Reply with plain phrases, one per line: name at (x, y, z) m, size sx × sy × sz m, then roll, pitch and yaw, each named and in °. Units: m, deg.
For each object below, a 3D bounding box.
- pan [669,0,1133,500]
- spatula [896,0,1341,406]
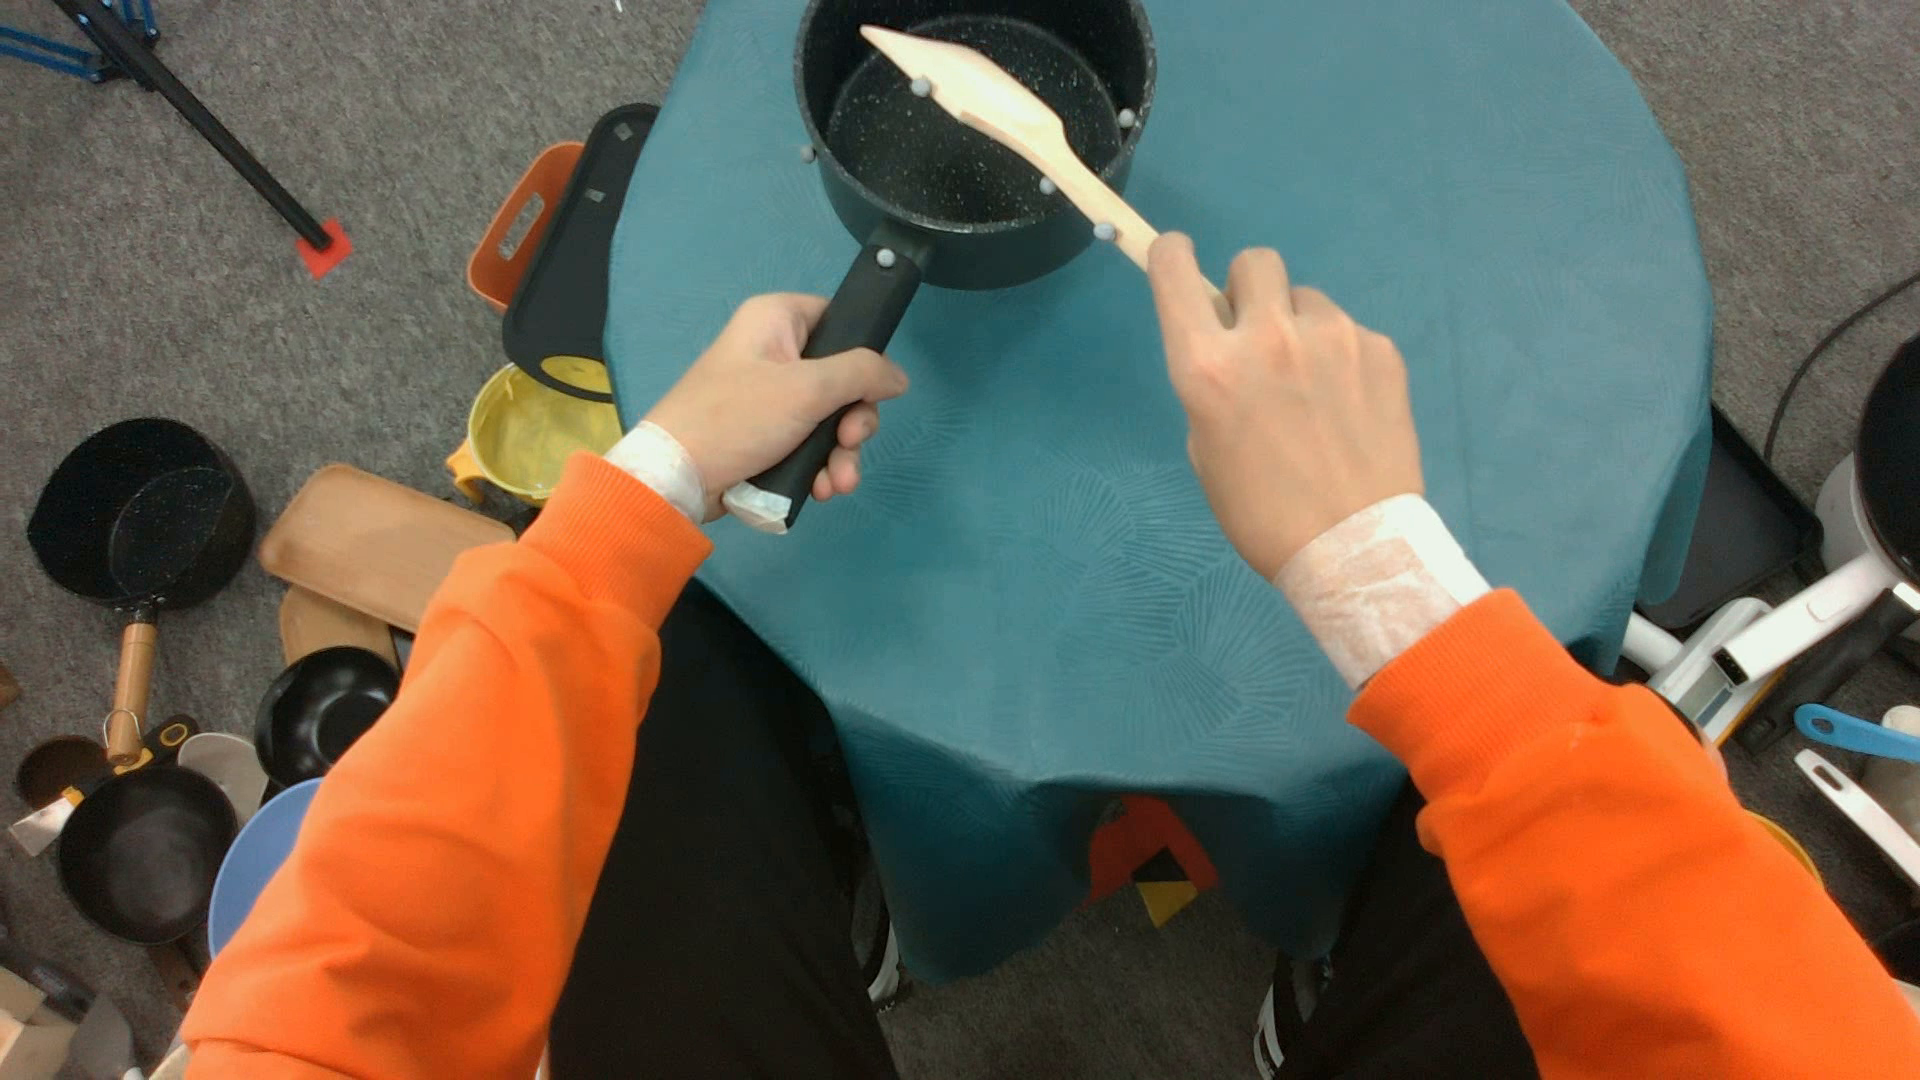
pan at (-0.038, -0.154, 0.662) m, size 0.172 × 0.086 × 0.329 m, roll 25°, pitch 74°, yaw 7°
spatula at (0.059, -0.157, 0.583) m, size 0.293 × 0.072 × 0.010 m, roll 52°, pitch 121°, yaw 24°
